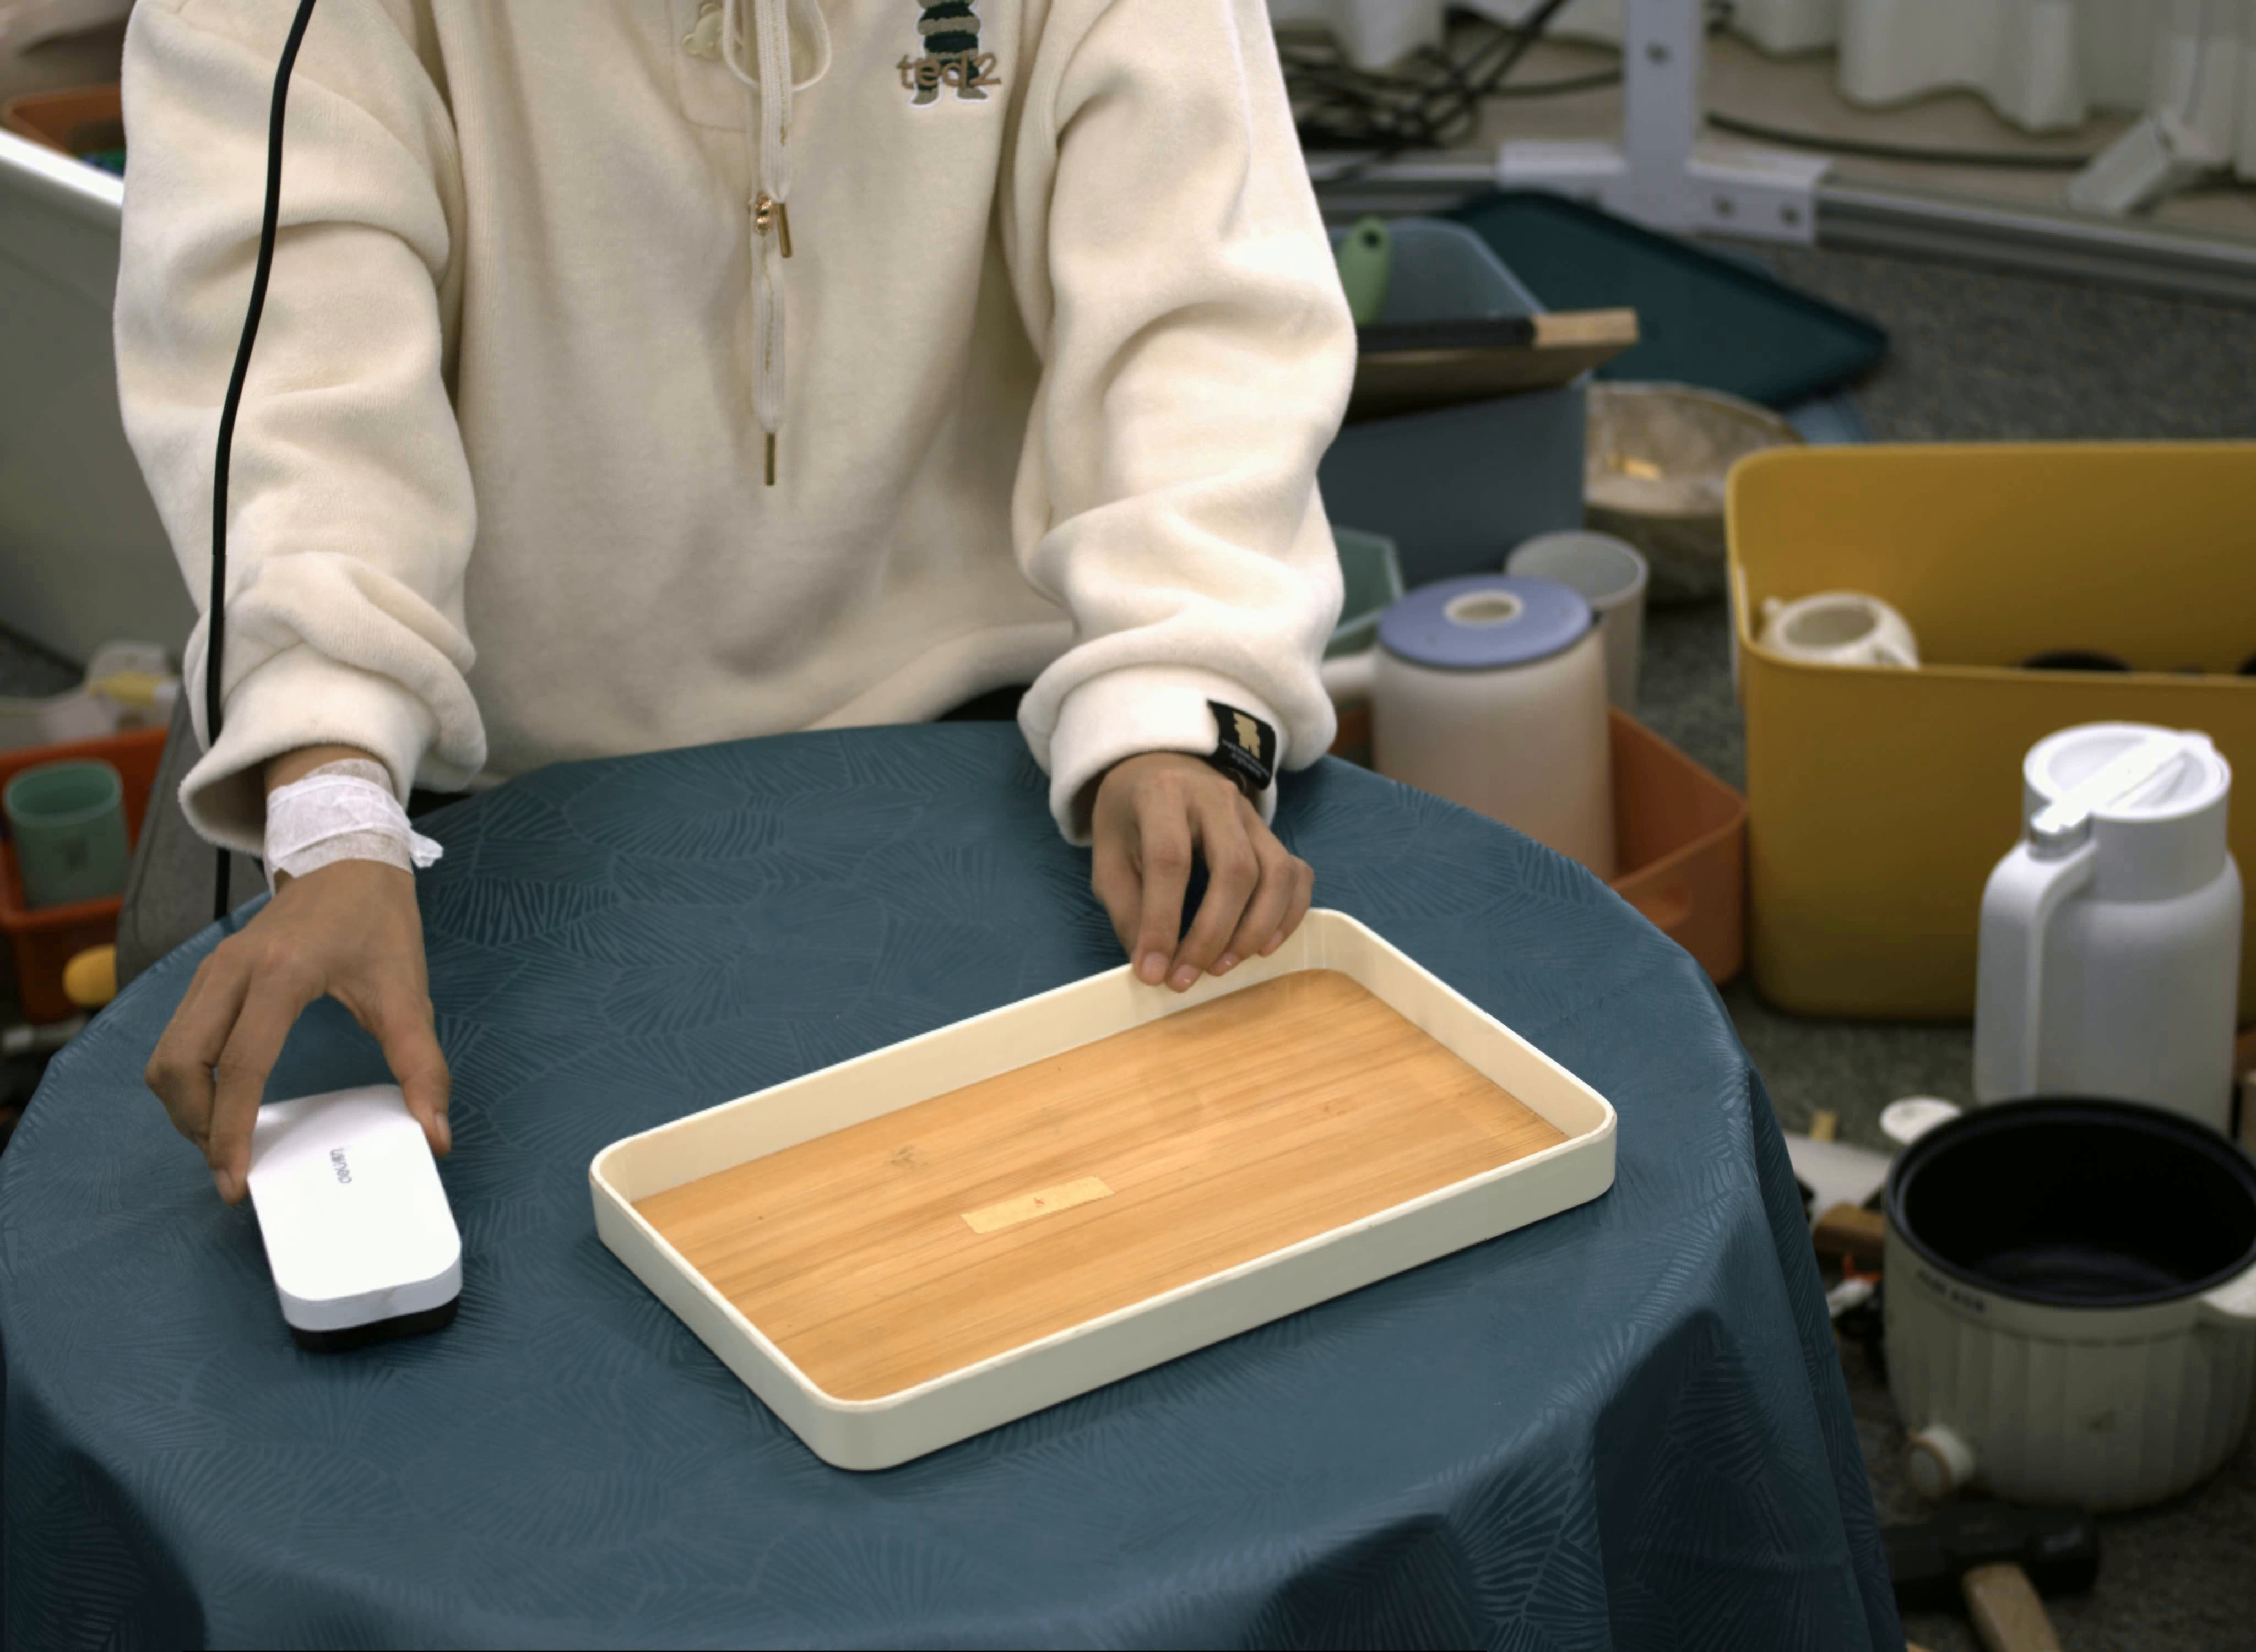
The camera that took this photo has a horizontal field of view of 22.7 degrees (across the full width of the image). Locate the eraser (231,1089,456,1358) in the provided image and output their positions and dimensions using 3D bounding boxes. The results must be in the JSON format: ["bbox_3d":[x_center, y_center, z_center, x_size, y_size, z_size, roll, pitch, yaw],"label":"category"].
[{"bbox_3d":[-0.257,0.127,1.843,0.063,0.034,0.133,-10,28,-11],"label":"eraser"}]

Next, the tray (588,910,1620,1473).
[{"bbox_3d":[-0.007,0.115,1.846,0.302,0.027,0.192,-18,31,-26],"label":"tray"}]
